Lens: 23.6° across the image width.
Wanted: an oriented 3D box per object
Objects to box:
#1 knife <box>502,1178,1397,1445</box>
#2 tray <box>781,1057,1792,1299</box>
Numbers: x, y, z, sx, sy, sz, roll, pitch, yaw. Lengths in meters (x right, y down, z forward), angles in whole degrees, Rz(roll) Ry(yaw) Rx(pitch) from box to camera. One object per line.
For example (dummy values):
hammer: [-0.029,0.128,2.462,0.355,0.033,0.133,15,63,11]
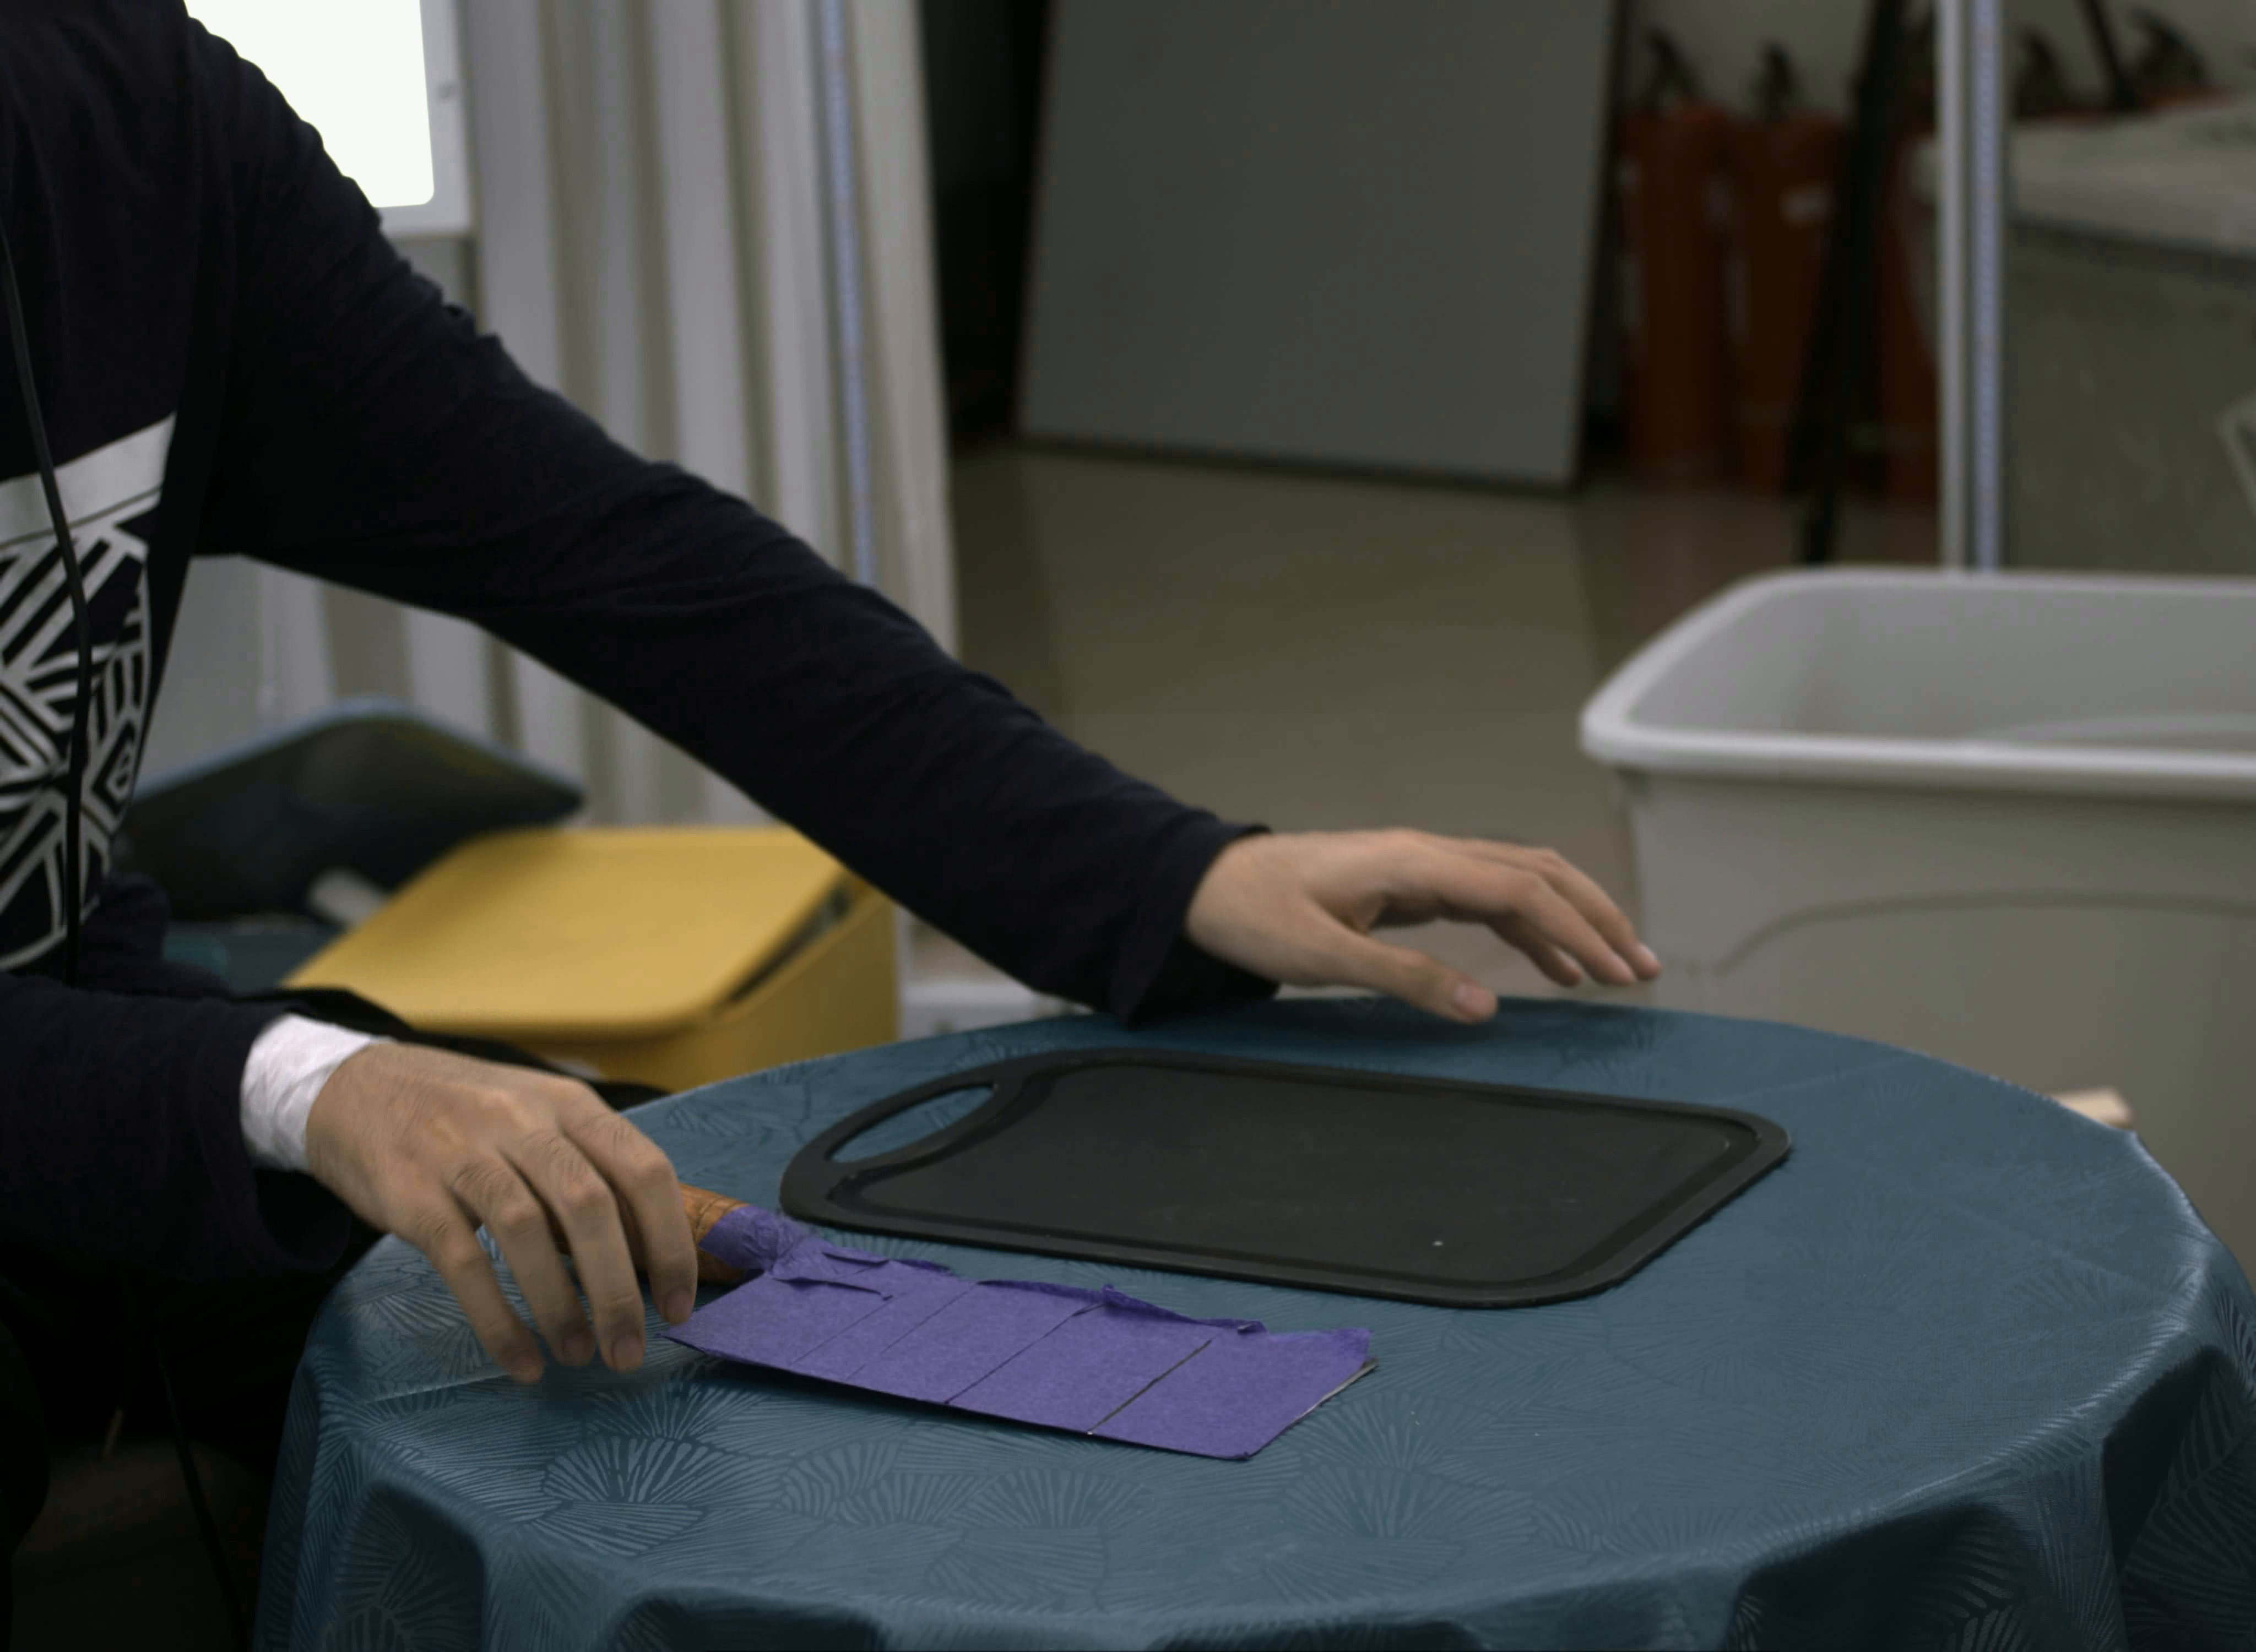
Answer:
knife: [-0.076,0.146,1.638,0.316,0.032,0.102,5,16,32]
tray: [0.045,0.112,1.785,0.327,0.010,0.208,4,15,31]
